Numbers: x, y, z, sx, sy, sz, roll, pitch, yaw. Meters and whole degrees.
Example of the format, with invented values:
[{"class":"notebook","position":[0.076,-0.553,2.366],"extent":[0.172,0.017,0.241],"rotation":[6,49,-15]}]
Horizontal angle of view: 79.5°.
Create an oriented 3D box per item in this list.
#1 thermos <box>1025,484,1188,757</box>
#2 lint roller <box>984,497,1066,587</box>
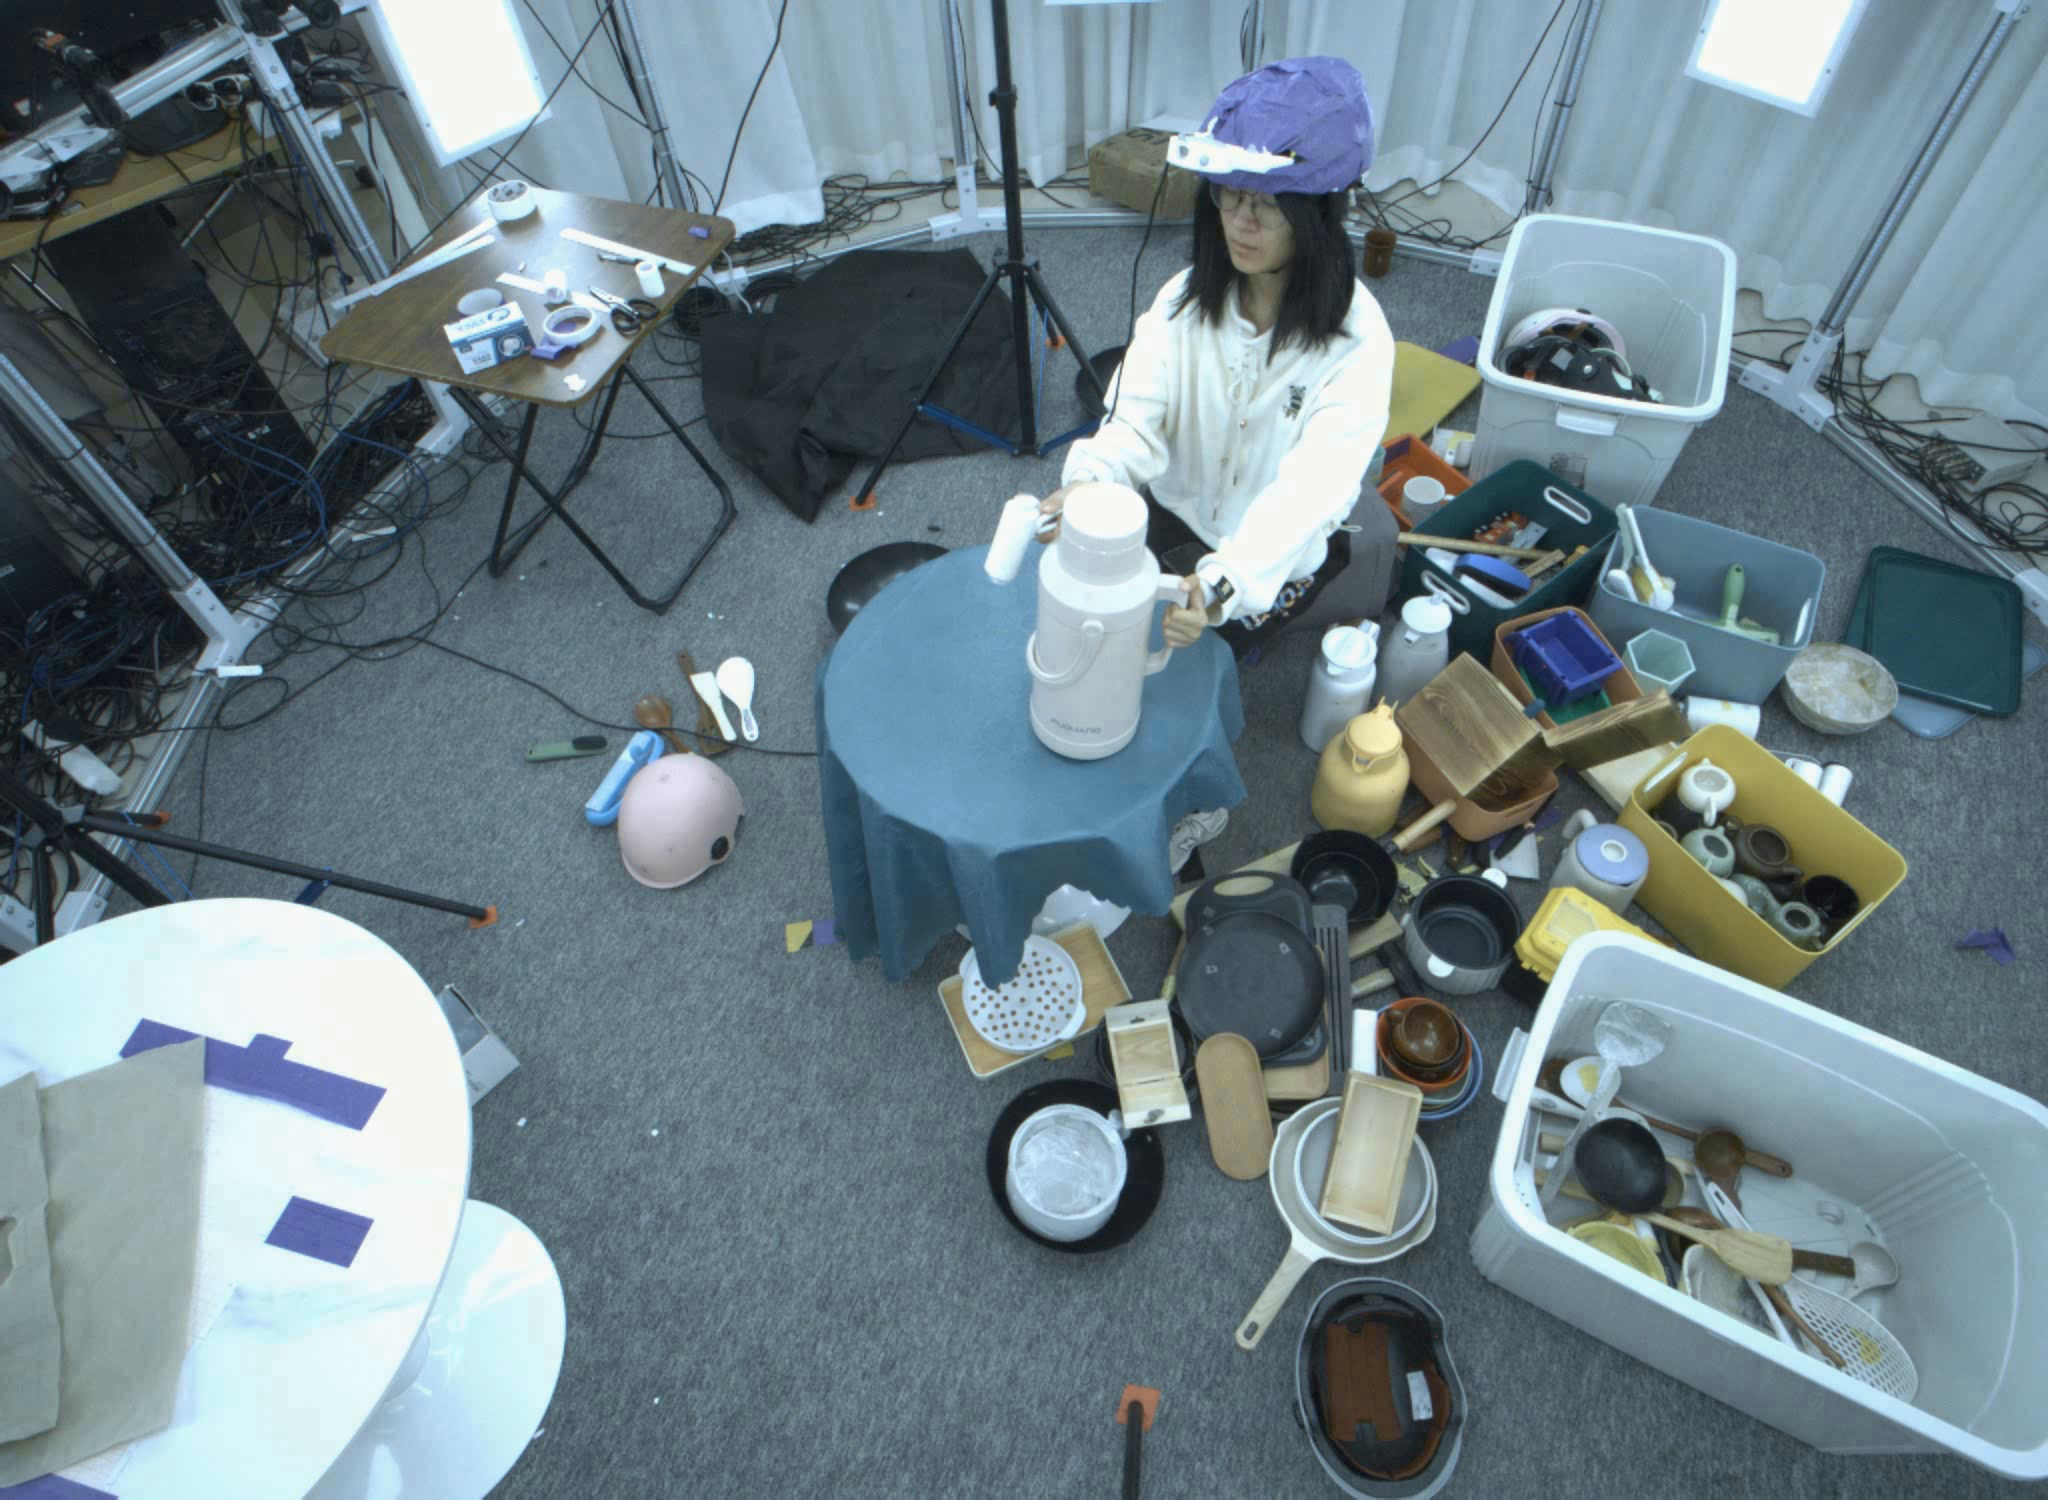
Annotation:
[{"class":"thermos","position":[0.106,-0.167,1.652],"extent":[0.207,0.409,0.174],"rotation":[6,52,2]},{"class":"lint roller","position":[0.009,-0.311,1.694],"extent":[0.050,0.133,0.181],"rotation":[28,41,8]}]
